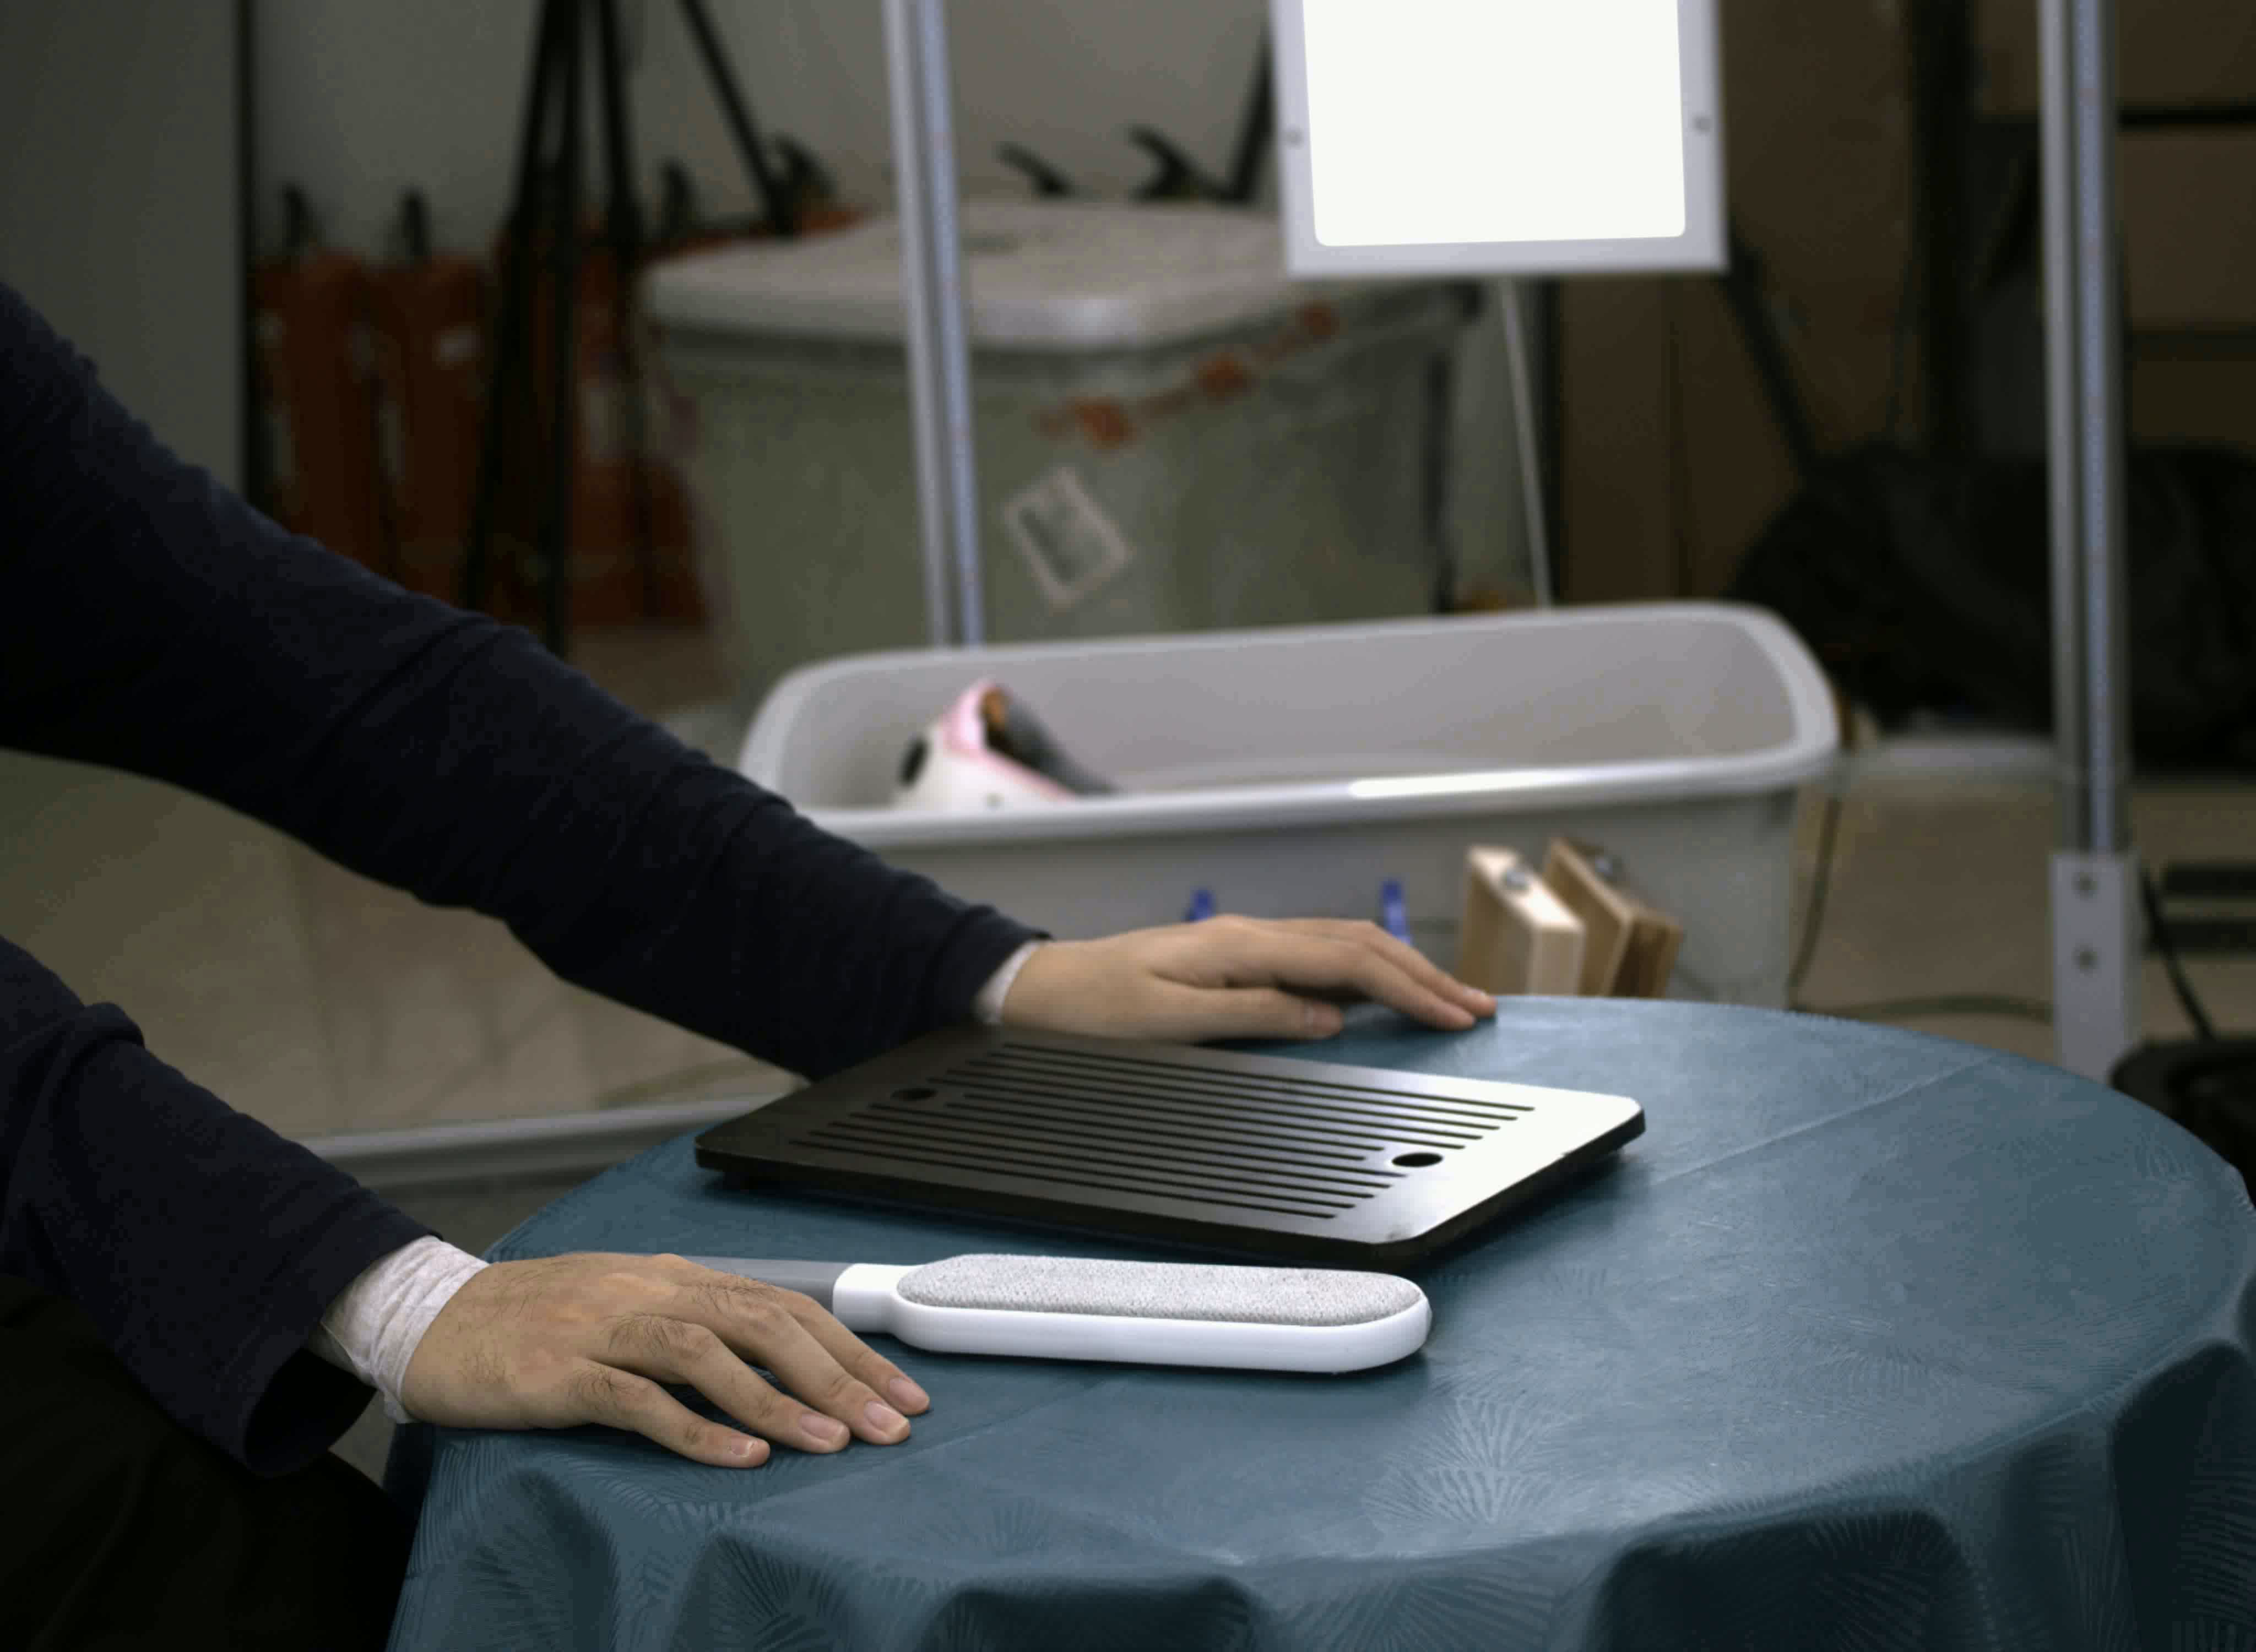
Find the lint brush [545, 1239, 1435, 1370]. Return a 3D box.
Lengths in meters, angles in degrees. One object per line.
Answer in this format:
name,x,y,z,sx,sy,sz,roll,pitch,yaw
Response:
lint brush,-0.049,0.150,1.769,0.314,0.021,0.059,1,20,25

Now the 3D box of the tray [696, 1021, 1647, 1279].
tray,0.014,0.111,1.927,0.312,0.019,0.166,5,17,36
